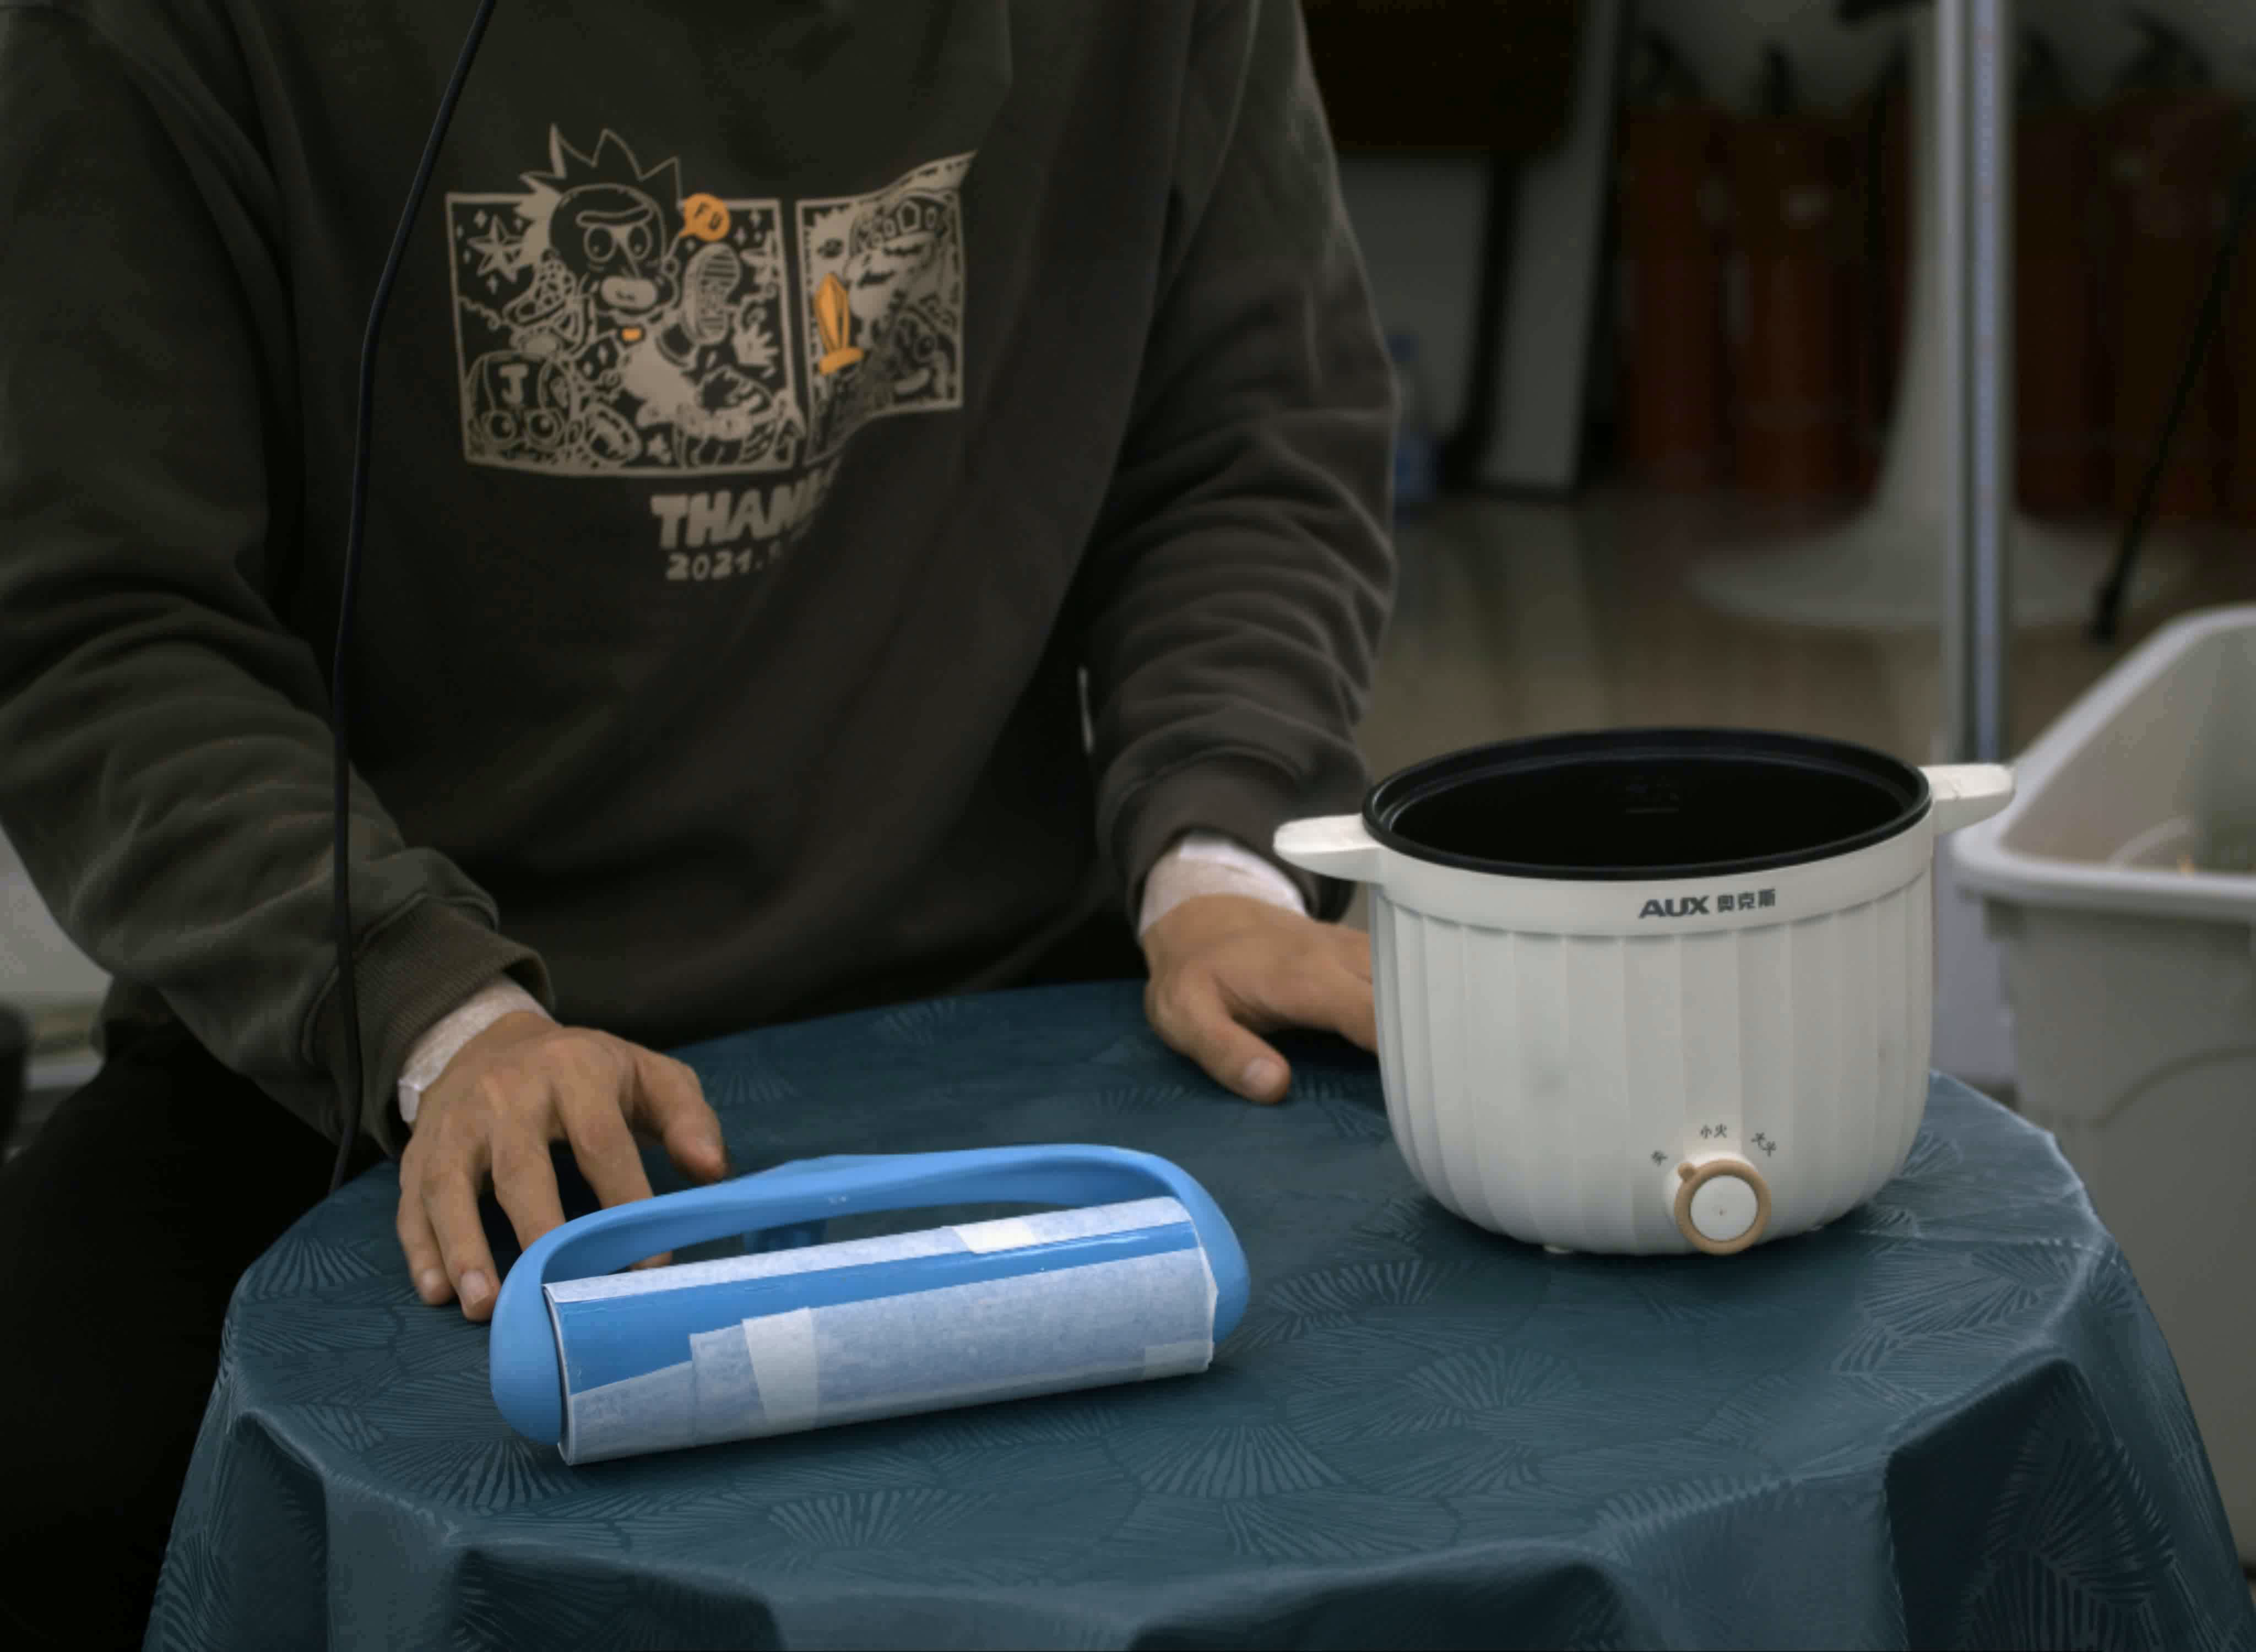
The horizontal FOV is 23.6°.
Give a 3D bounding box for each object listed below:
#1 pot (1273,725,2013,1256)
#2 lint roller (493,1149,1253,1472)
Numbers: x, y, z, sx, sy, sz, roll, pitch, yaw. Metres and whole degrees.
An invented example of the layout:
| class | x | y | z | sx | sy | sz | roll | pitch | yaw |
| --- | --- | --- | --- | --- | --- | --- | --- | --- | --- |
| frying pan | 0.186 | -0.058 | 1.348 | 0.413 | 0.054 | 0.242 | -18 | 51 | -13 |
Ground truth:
| class | x | y | z | sx | sy | sz | roll | pitch | yaw |
| --- | --- | --- | --- | --- | --- | --- | --- | --- | --- |
| pot | 0.169 | 0.055 | 1.705 | 0.237 | 0.144 | 0.191 | -6 | 10 | -5 |
| lint roller | -0.090 | 0.134 | 1.630 | 0.224 | 0.068 | 0.182 | -9 | 15 | -15 |
